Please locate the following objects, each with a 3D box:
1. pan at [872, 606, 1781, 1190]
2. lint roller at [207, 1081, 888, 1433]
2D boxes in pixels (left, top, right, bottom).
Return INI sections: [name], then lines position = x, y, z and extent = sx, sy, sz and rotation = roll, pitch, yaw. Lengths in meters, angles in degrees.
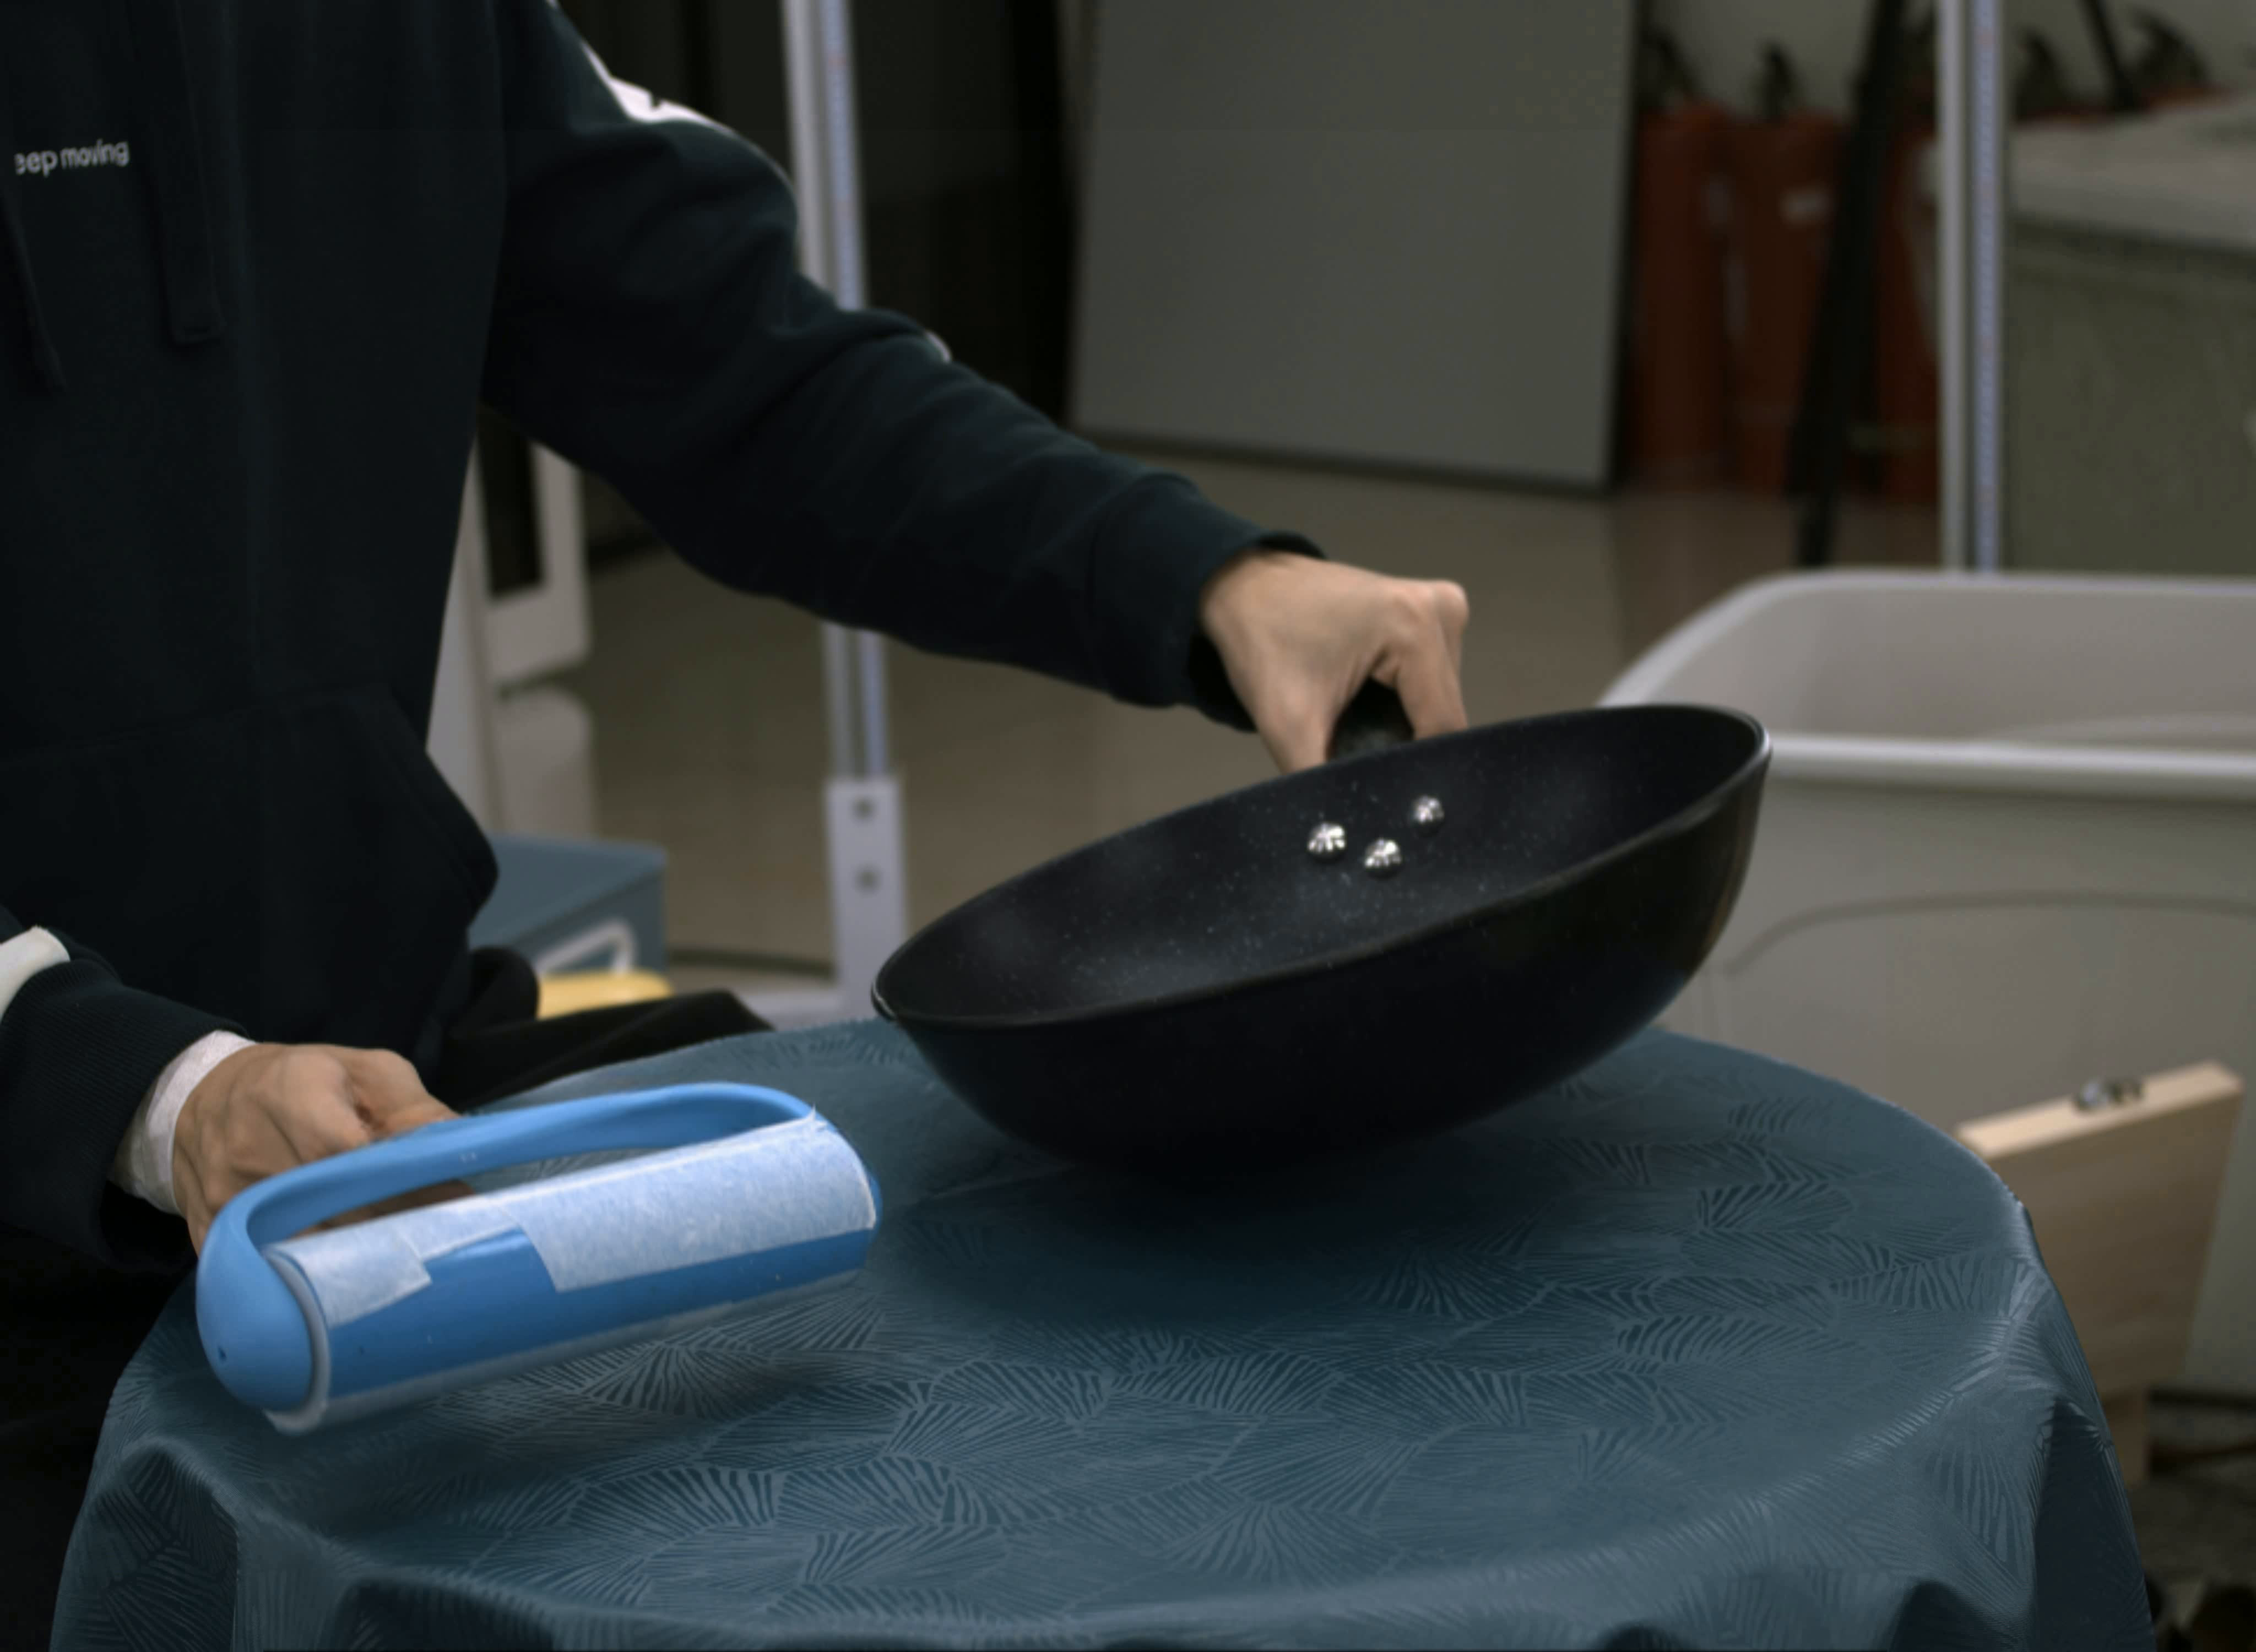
[pan]
position = 0.081, 0.021, 1.847
extent = 0.308, 0.112, 0.475
rotation = -14, 10, 11
[lint roller]
position = -0.202, 0.120, 1.602
extent = 0.224, 0.069, 0.182
rotation = -14, 15, -42
